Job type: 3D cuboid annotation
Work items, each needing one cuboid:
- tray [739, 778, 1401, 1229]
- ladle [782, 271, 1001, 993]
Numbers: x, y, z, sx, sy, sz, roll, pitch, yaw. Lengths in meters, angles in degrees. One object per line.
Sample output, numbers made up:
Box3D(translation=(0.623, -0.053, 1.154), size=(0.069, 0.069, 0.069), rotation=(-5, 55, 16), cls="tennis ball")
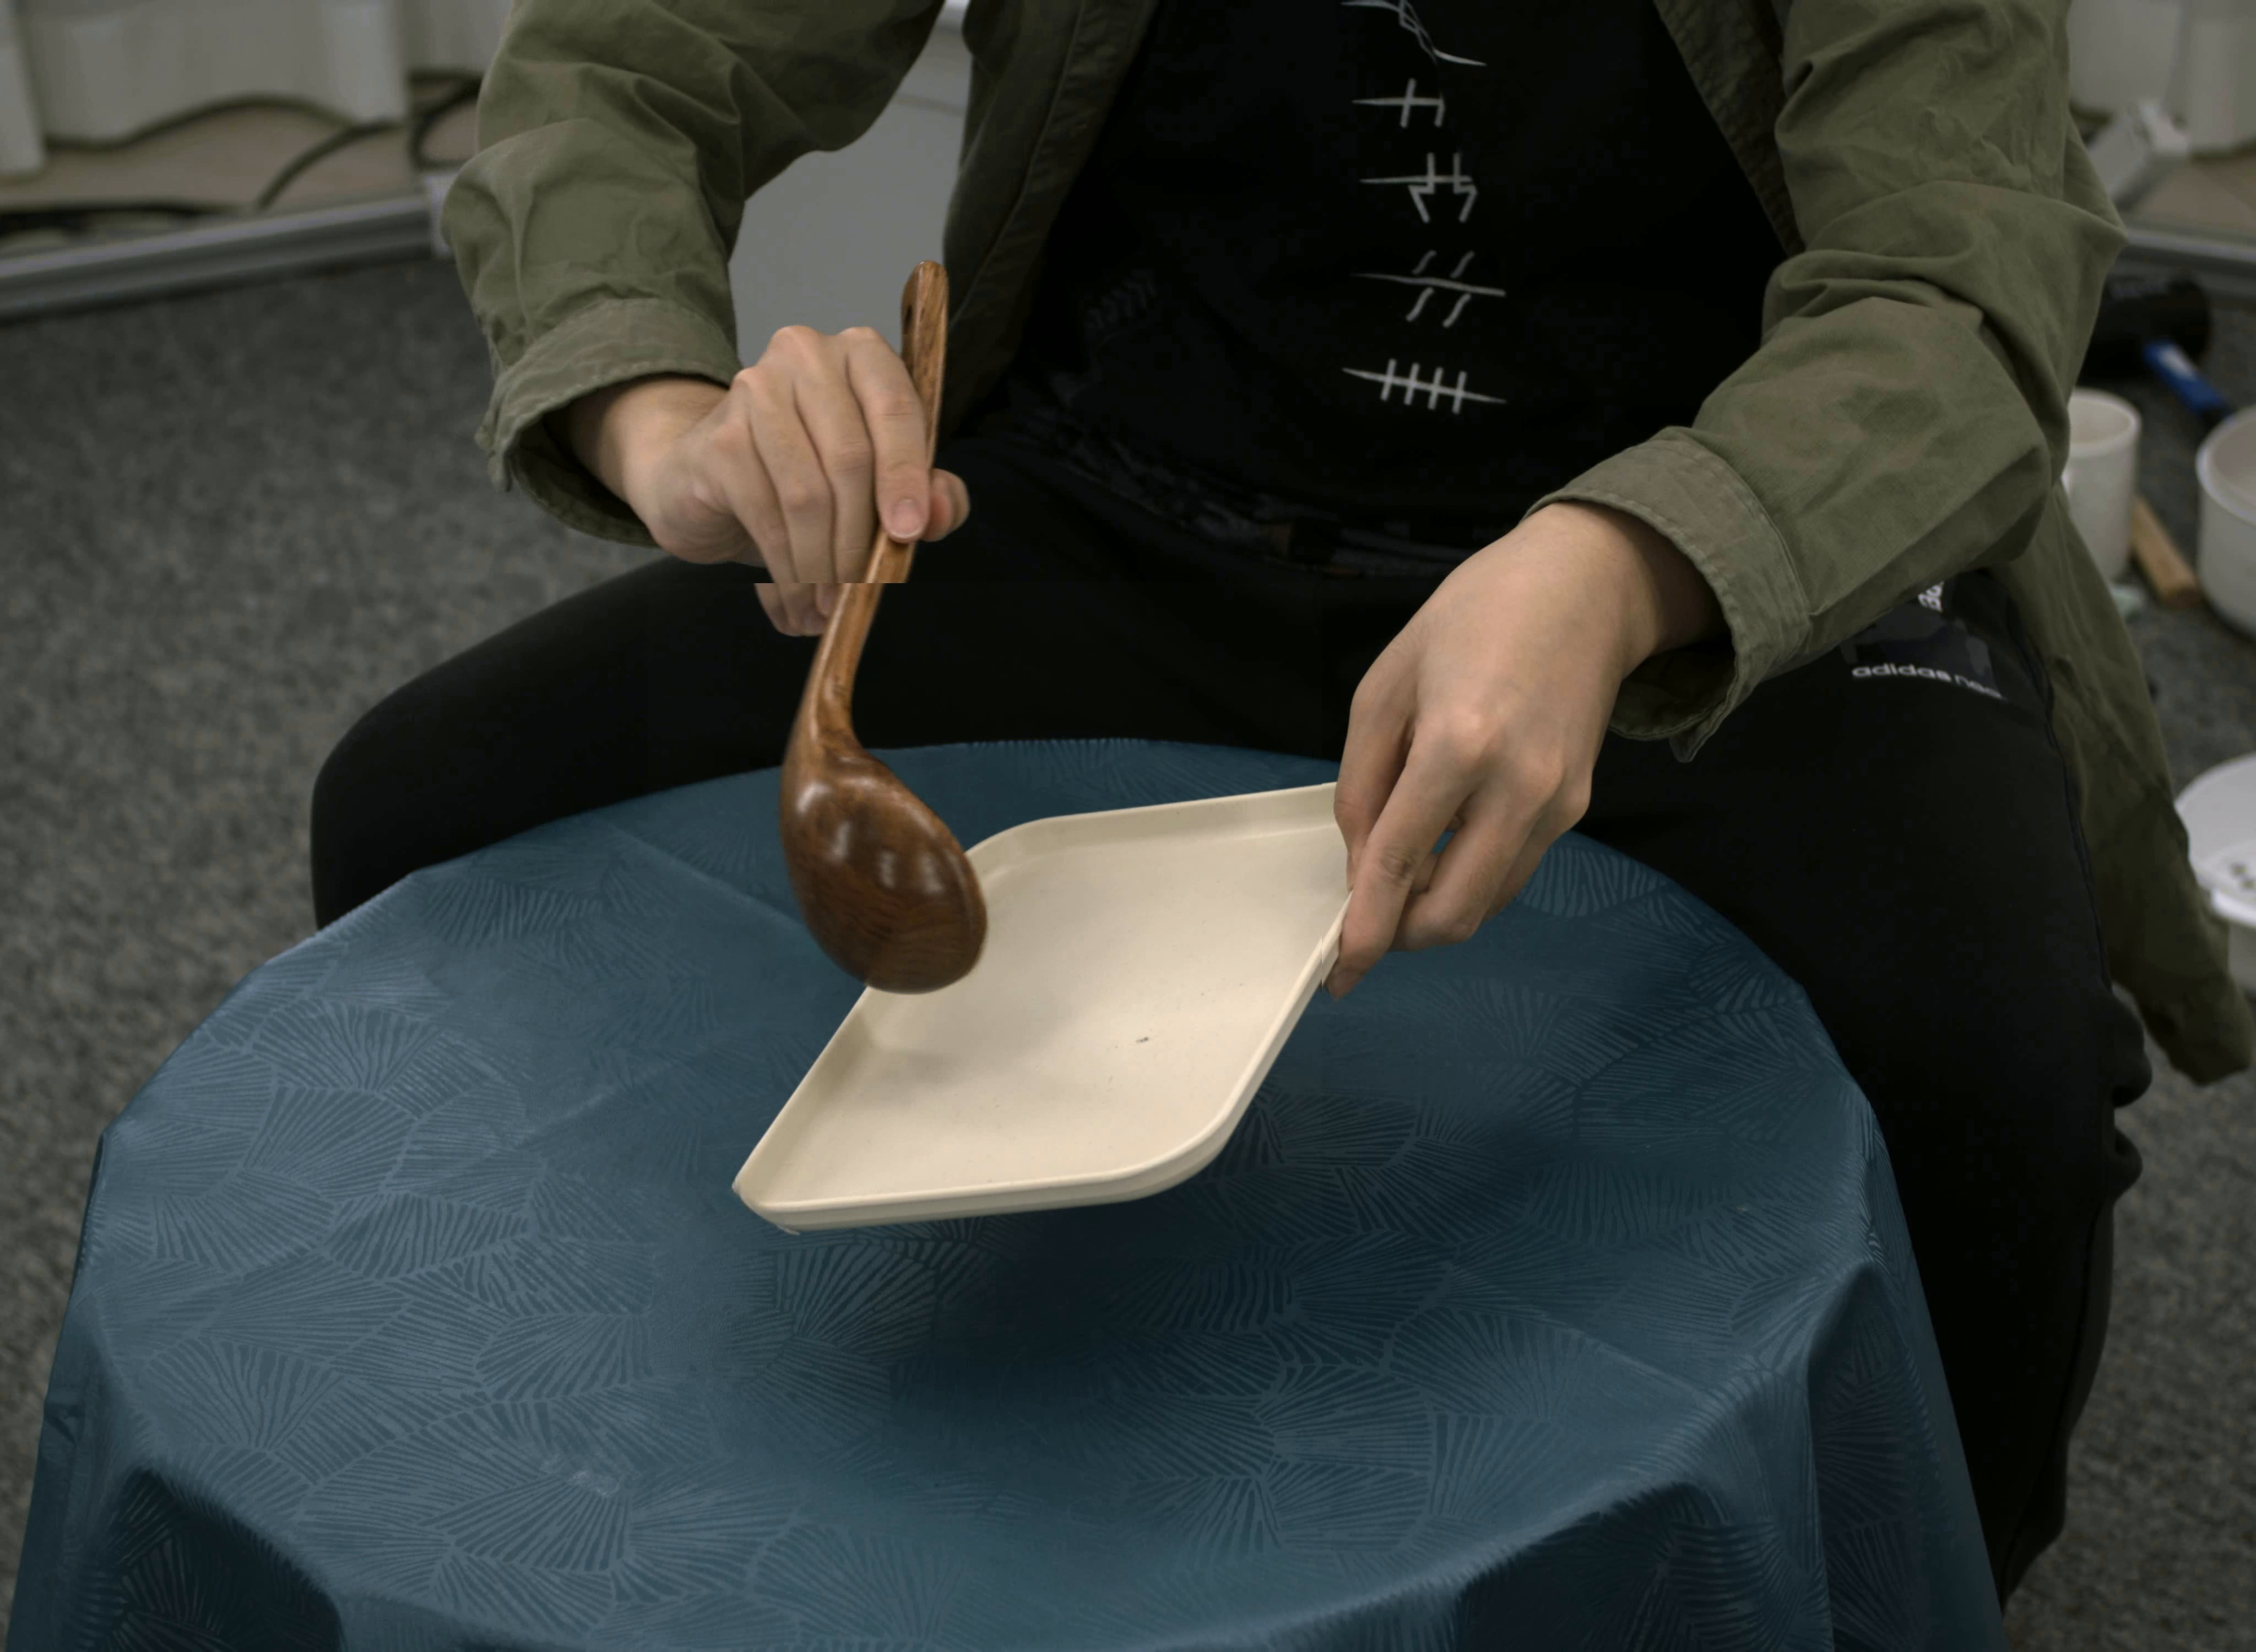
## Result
Box3D(translation=(-0.014, 0.057, 1.802), size=(0.169, 0.017, 0.244), rotation=(-7, 27, 25), cls="tray")
Box3D(translation=(-0.064, -0.069, 1.853), size=(0.076, 0.080, 0.280), rotation=(22, 50, -16), cls="ladle")
